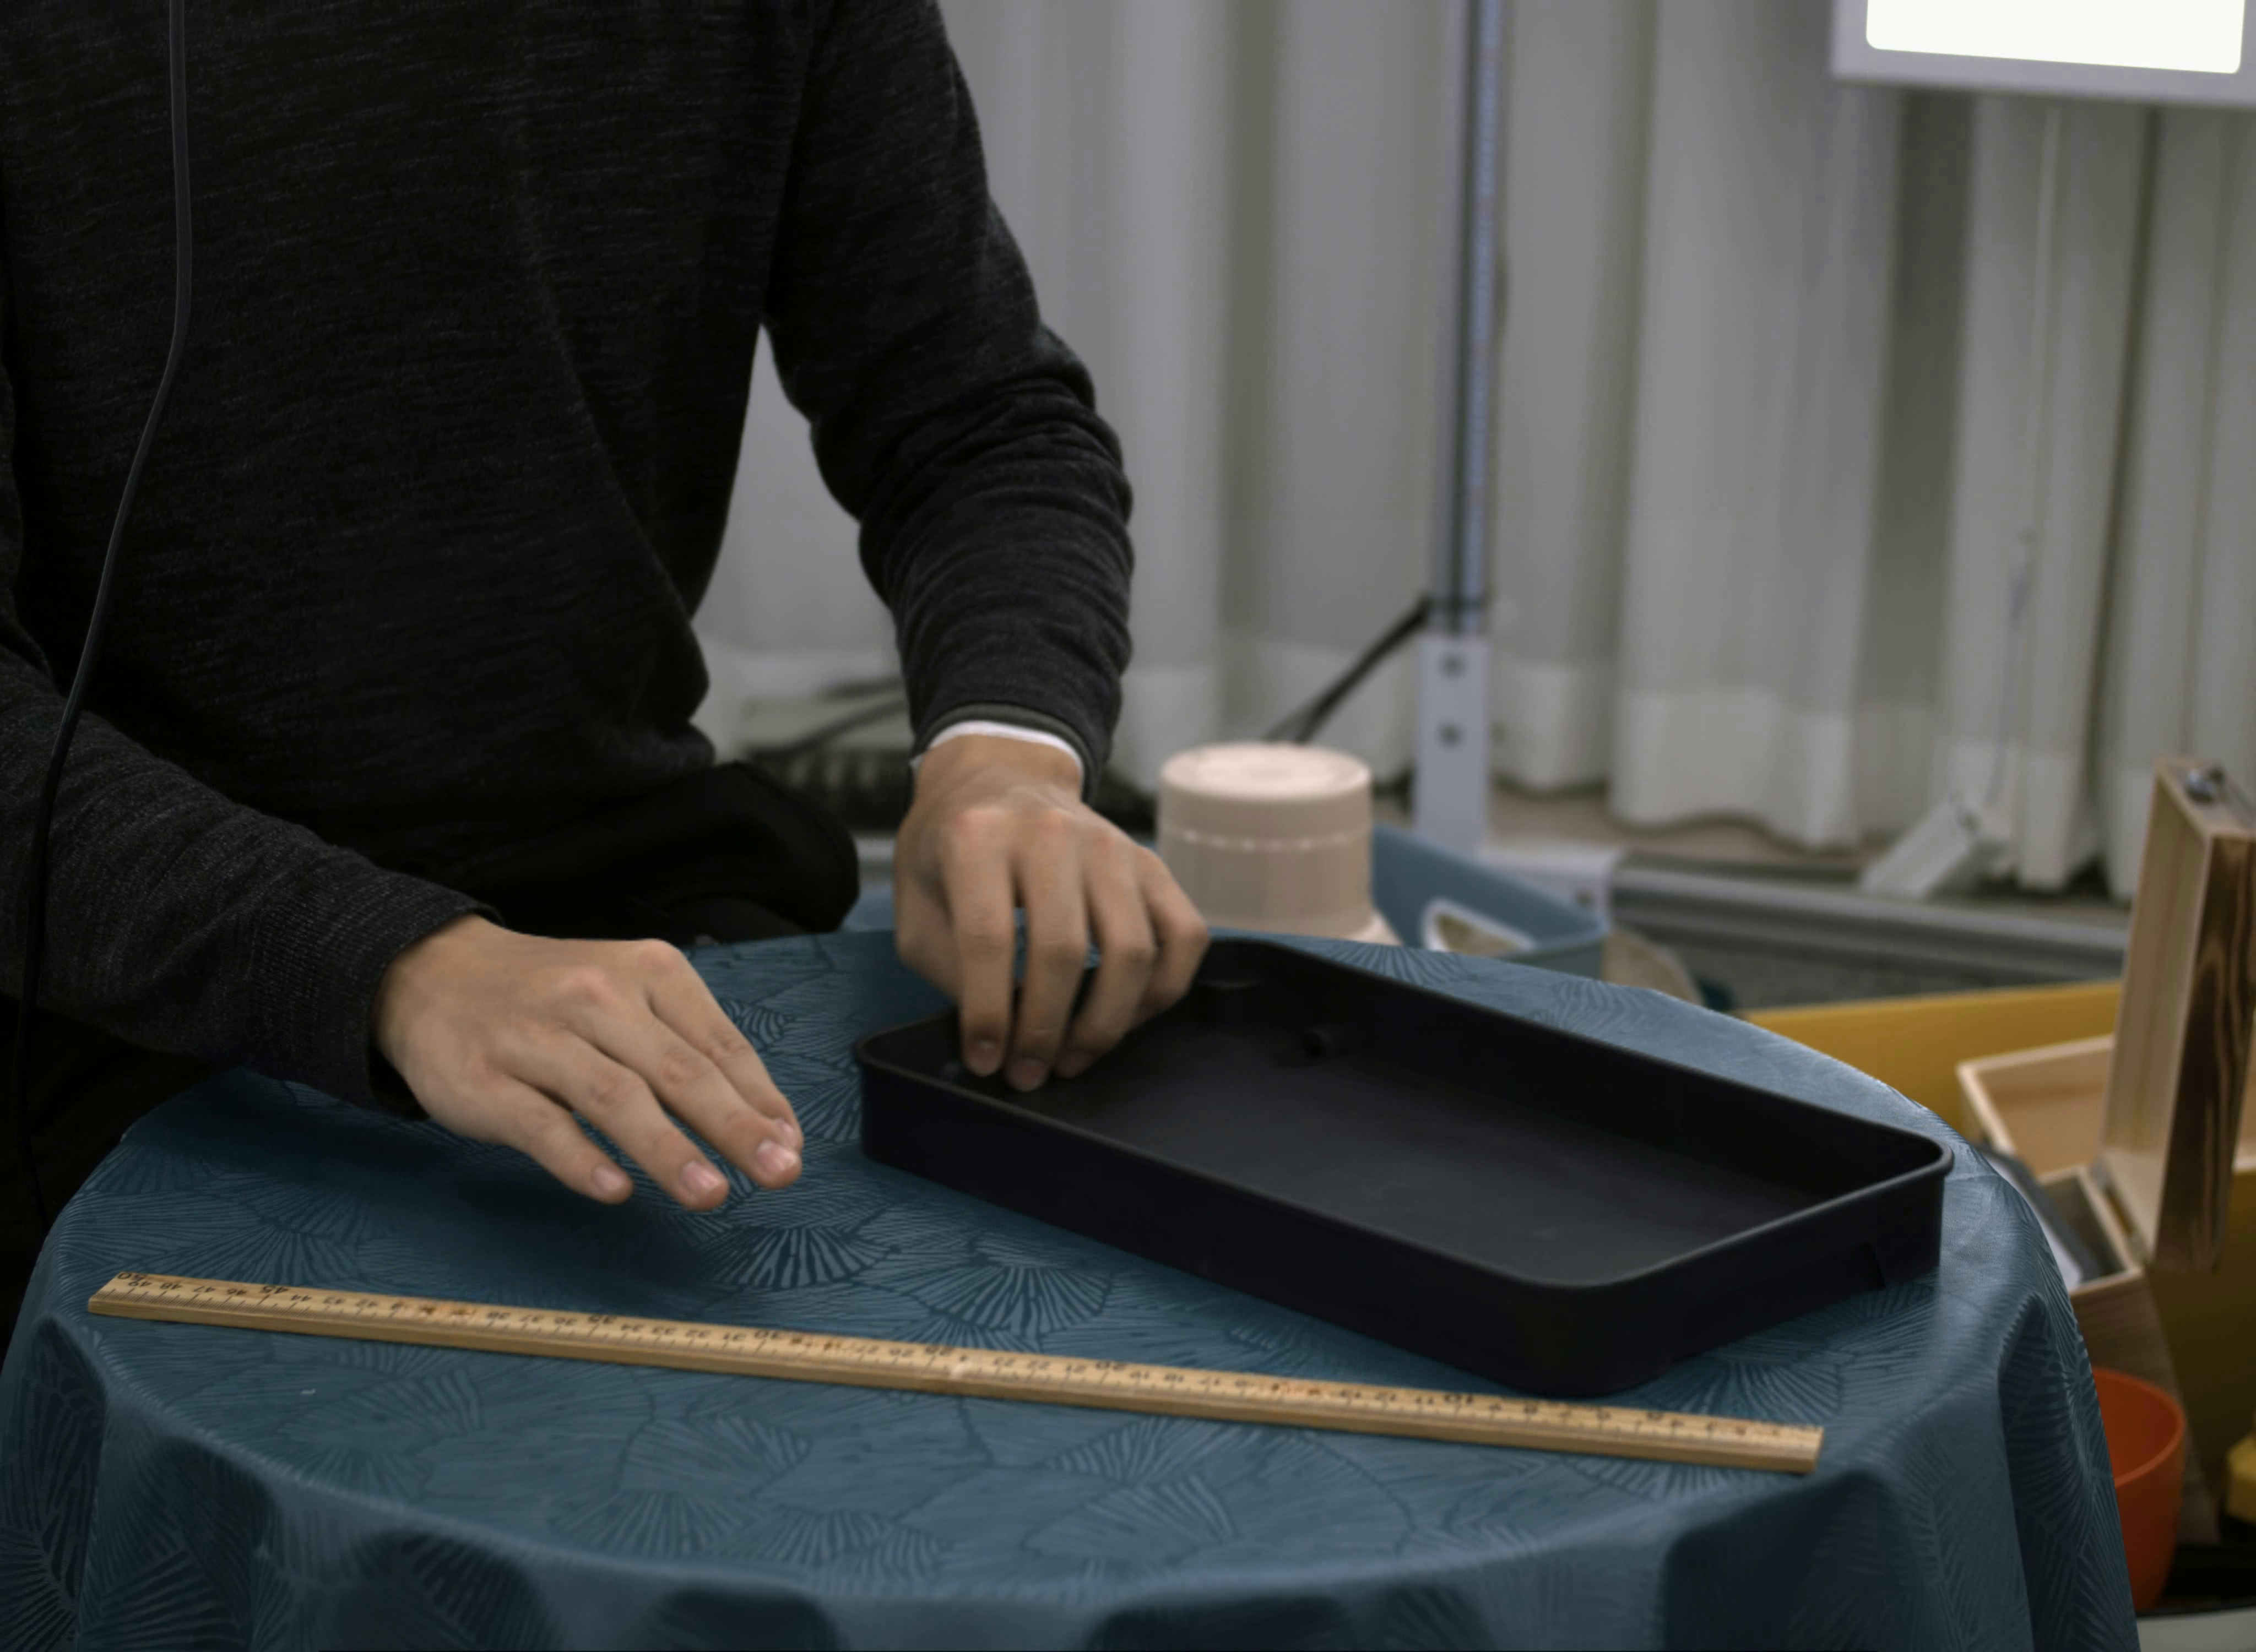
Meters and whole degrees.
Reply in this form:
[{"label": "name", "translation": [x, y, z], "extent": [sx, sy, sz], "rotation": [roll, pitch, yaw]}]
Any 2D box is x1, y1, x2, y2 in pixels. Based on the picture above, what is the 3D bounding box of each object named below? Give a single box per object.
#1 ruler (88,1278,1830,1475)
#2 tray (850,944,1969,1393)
[{"label": "ruler", "translation": [-0.054, 0.151, 1.467], "extent": [0.497, 0.006, 0.027], "rotation": [4, 13, 13]}, {"label": "tray", "translation": [0.081, 0.099, 1.605], "extent": [0.314, 0.037, 0.185], "rotation": [14, 20, 41]}]
